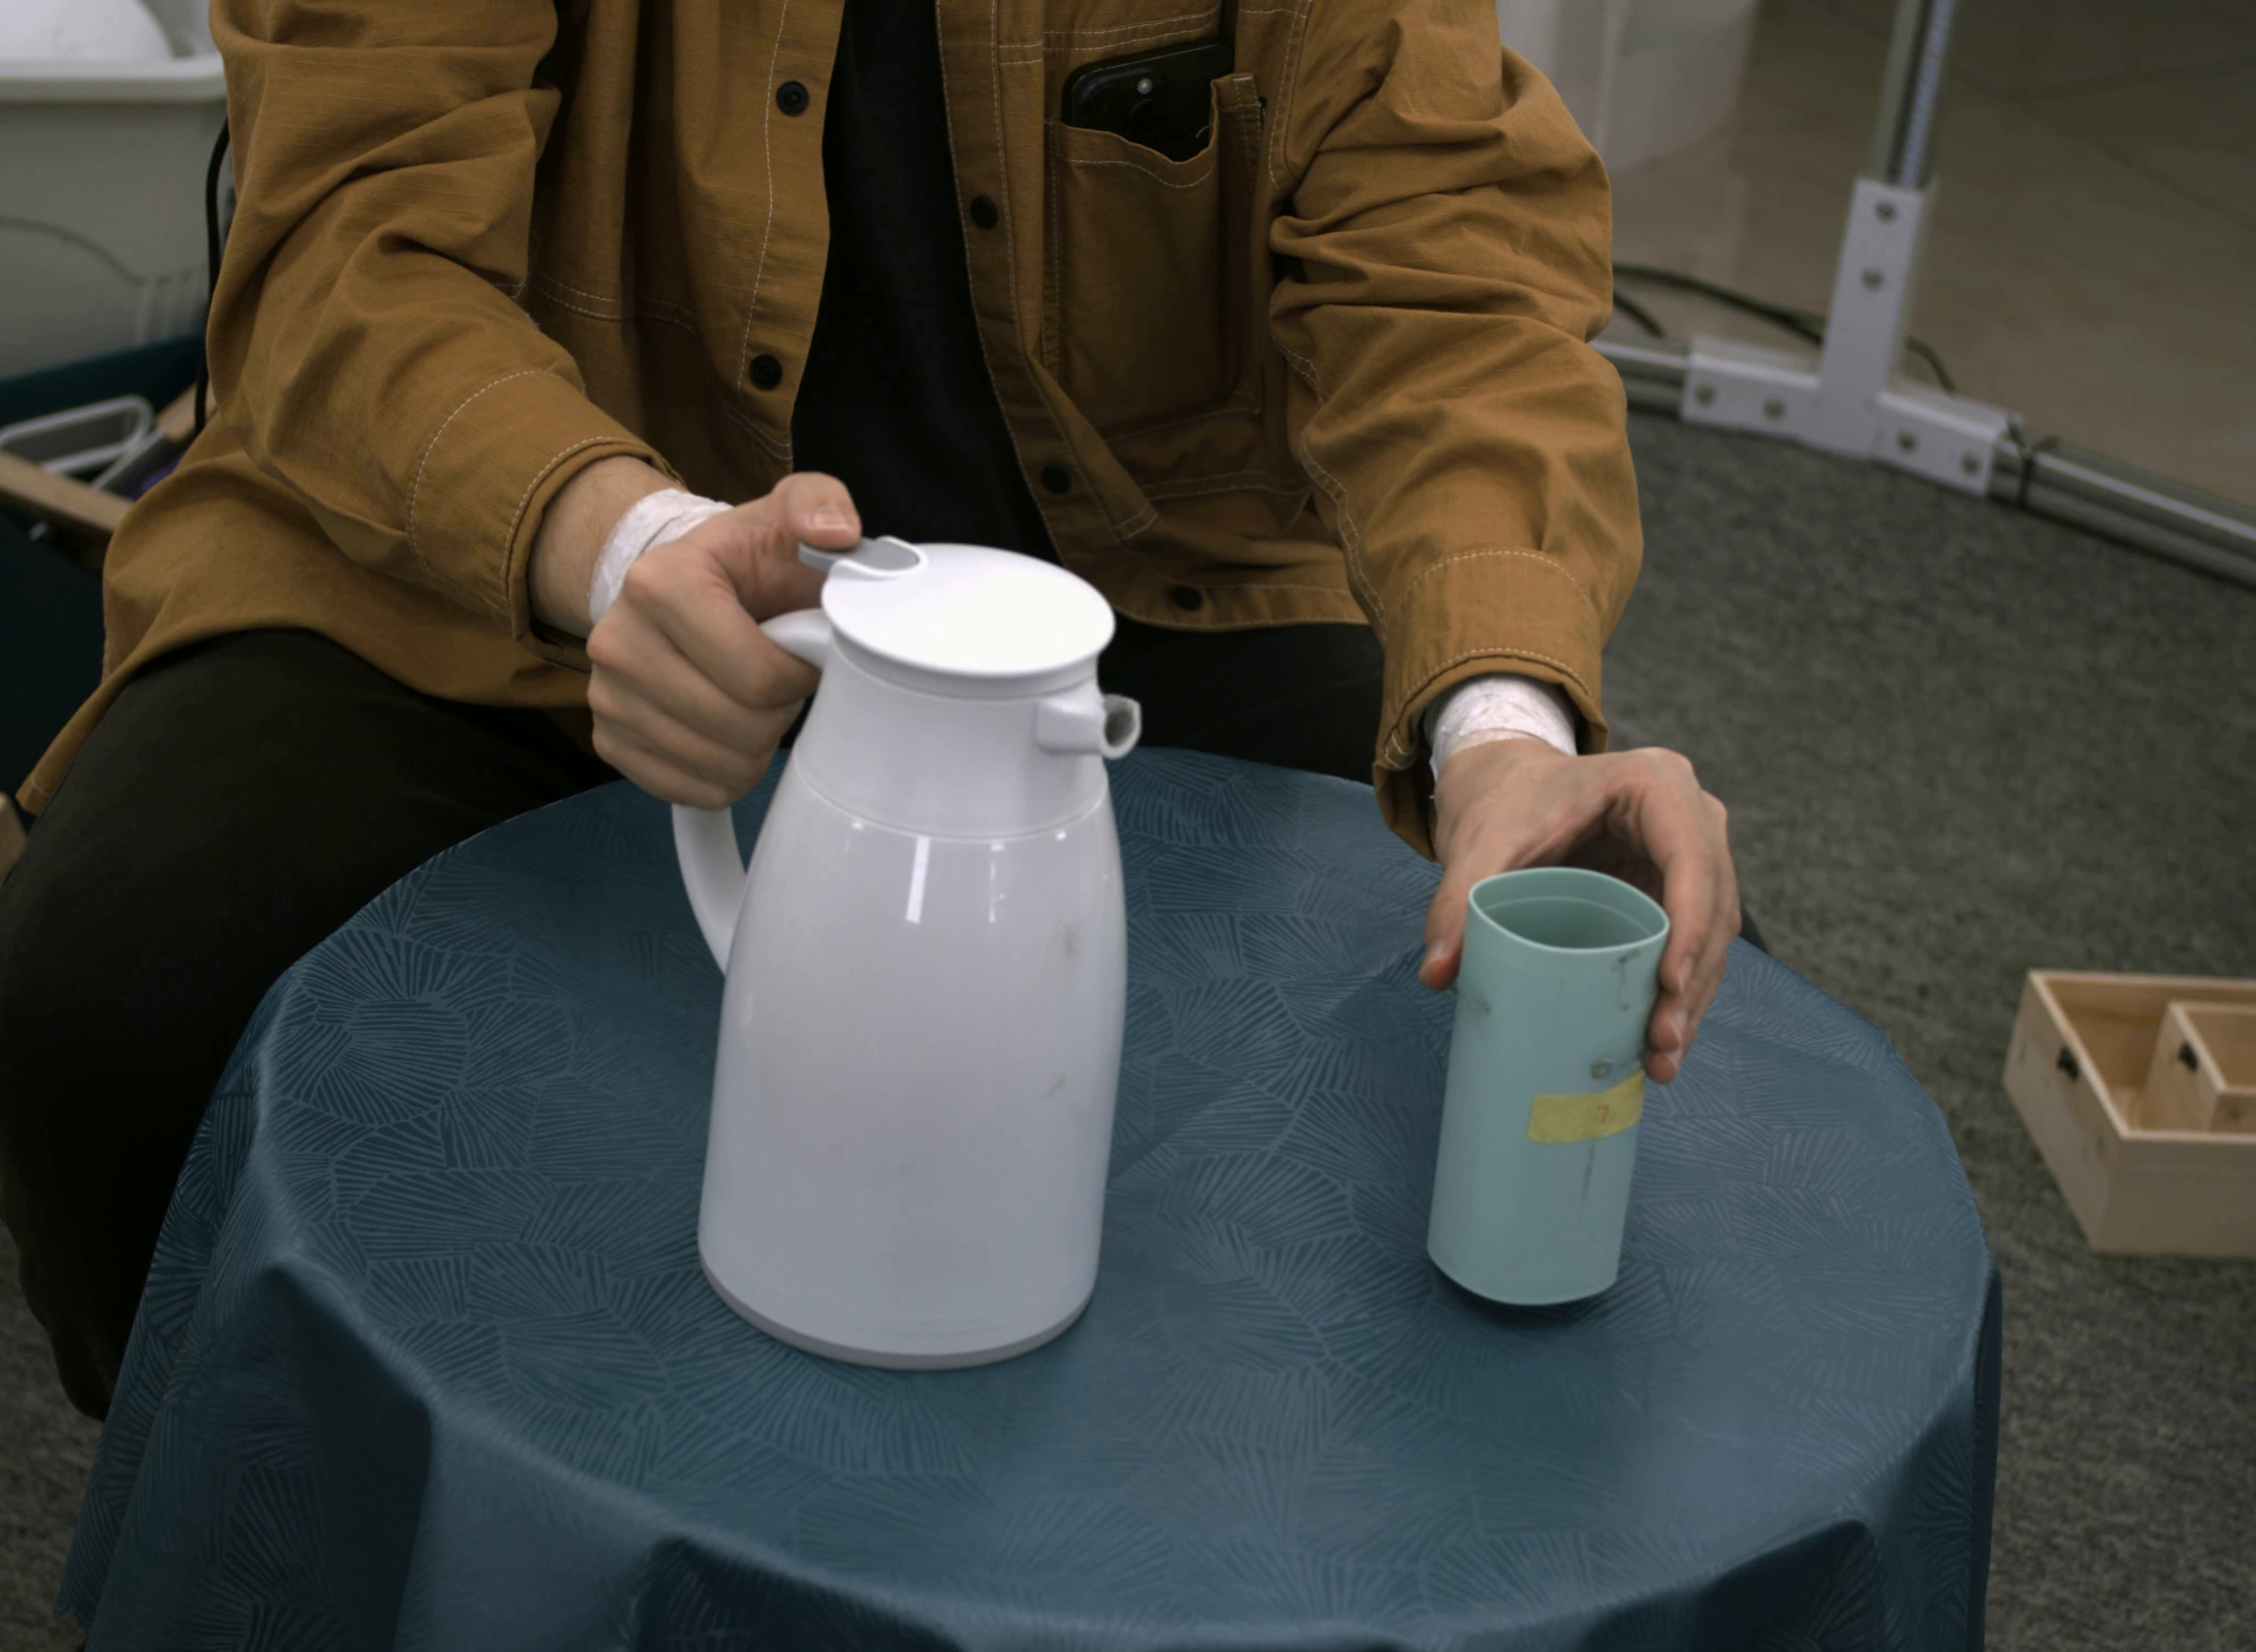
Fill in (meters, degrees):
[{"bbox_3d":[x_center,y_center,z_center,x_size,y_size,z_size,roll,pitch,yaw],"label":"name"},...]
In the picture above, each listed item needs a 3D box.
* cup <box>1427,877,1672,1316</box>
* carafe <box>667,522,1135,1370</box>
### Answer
[{"bbox_3d":[0.137,0.088,1.751,0.066,0.132,0.067,5,23,-2],"label":"cup"},{"bbox_3d":[-0.080,0.028,1.703,0.168,0.248,0.132,22,30,29],"label":"carafe"}]
